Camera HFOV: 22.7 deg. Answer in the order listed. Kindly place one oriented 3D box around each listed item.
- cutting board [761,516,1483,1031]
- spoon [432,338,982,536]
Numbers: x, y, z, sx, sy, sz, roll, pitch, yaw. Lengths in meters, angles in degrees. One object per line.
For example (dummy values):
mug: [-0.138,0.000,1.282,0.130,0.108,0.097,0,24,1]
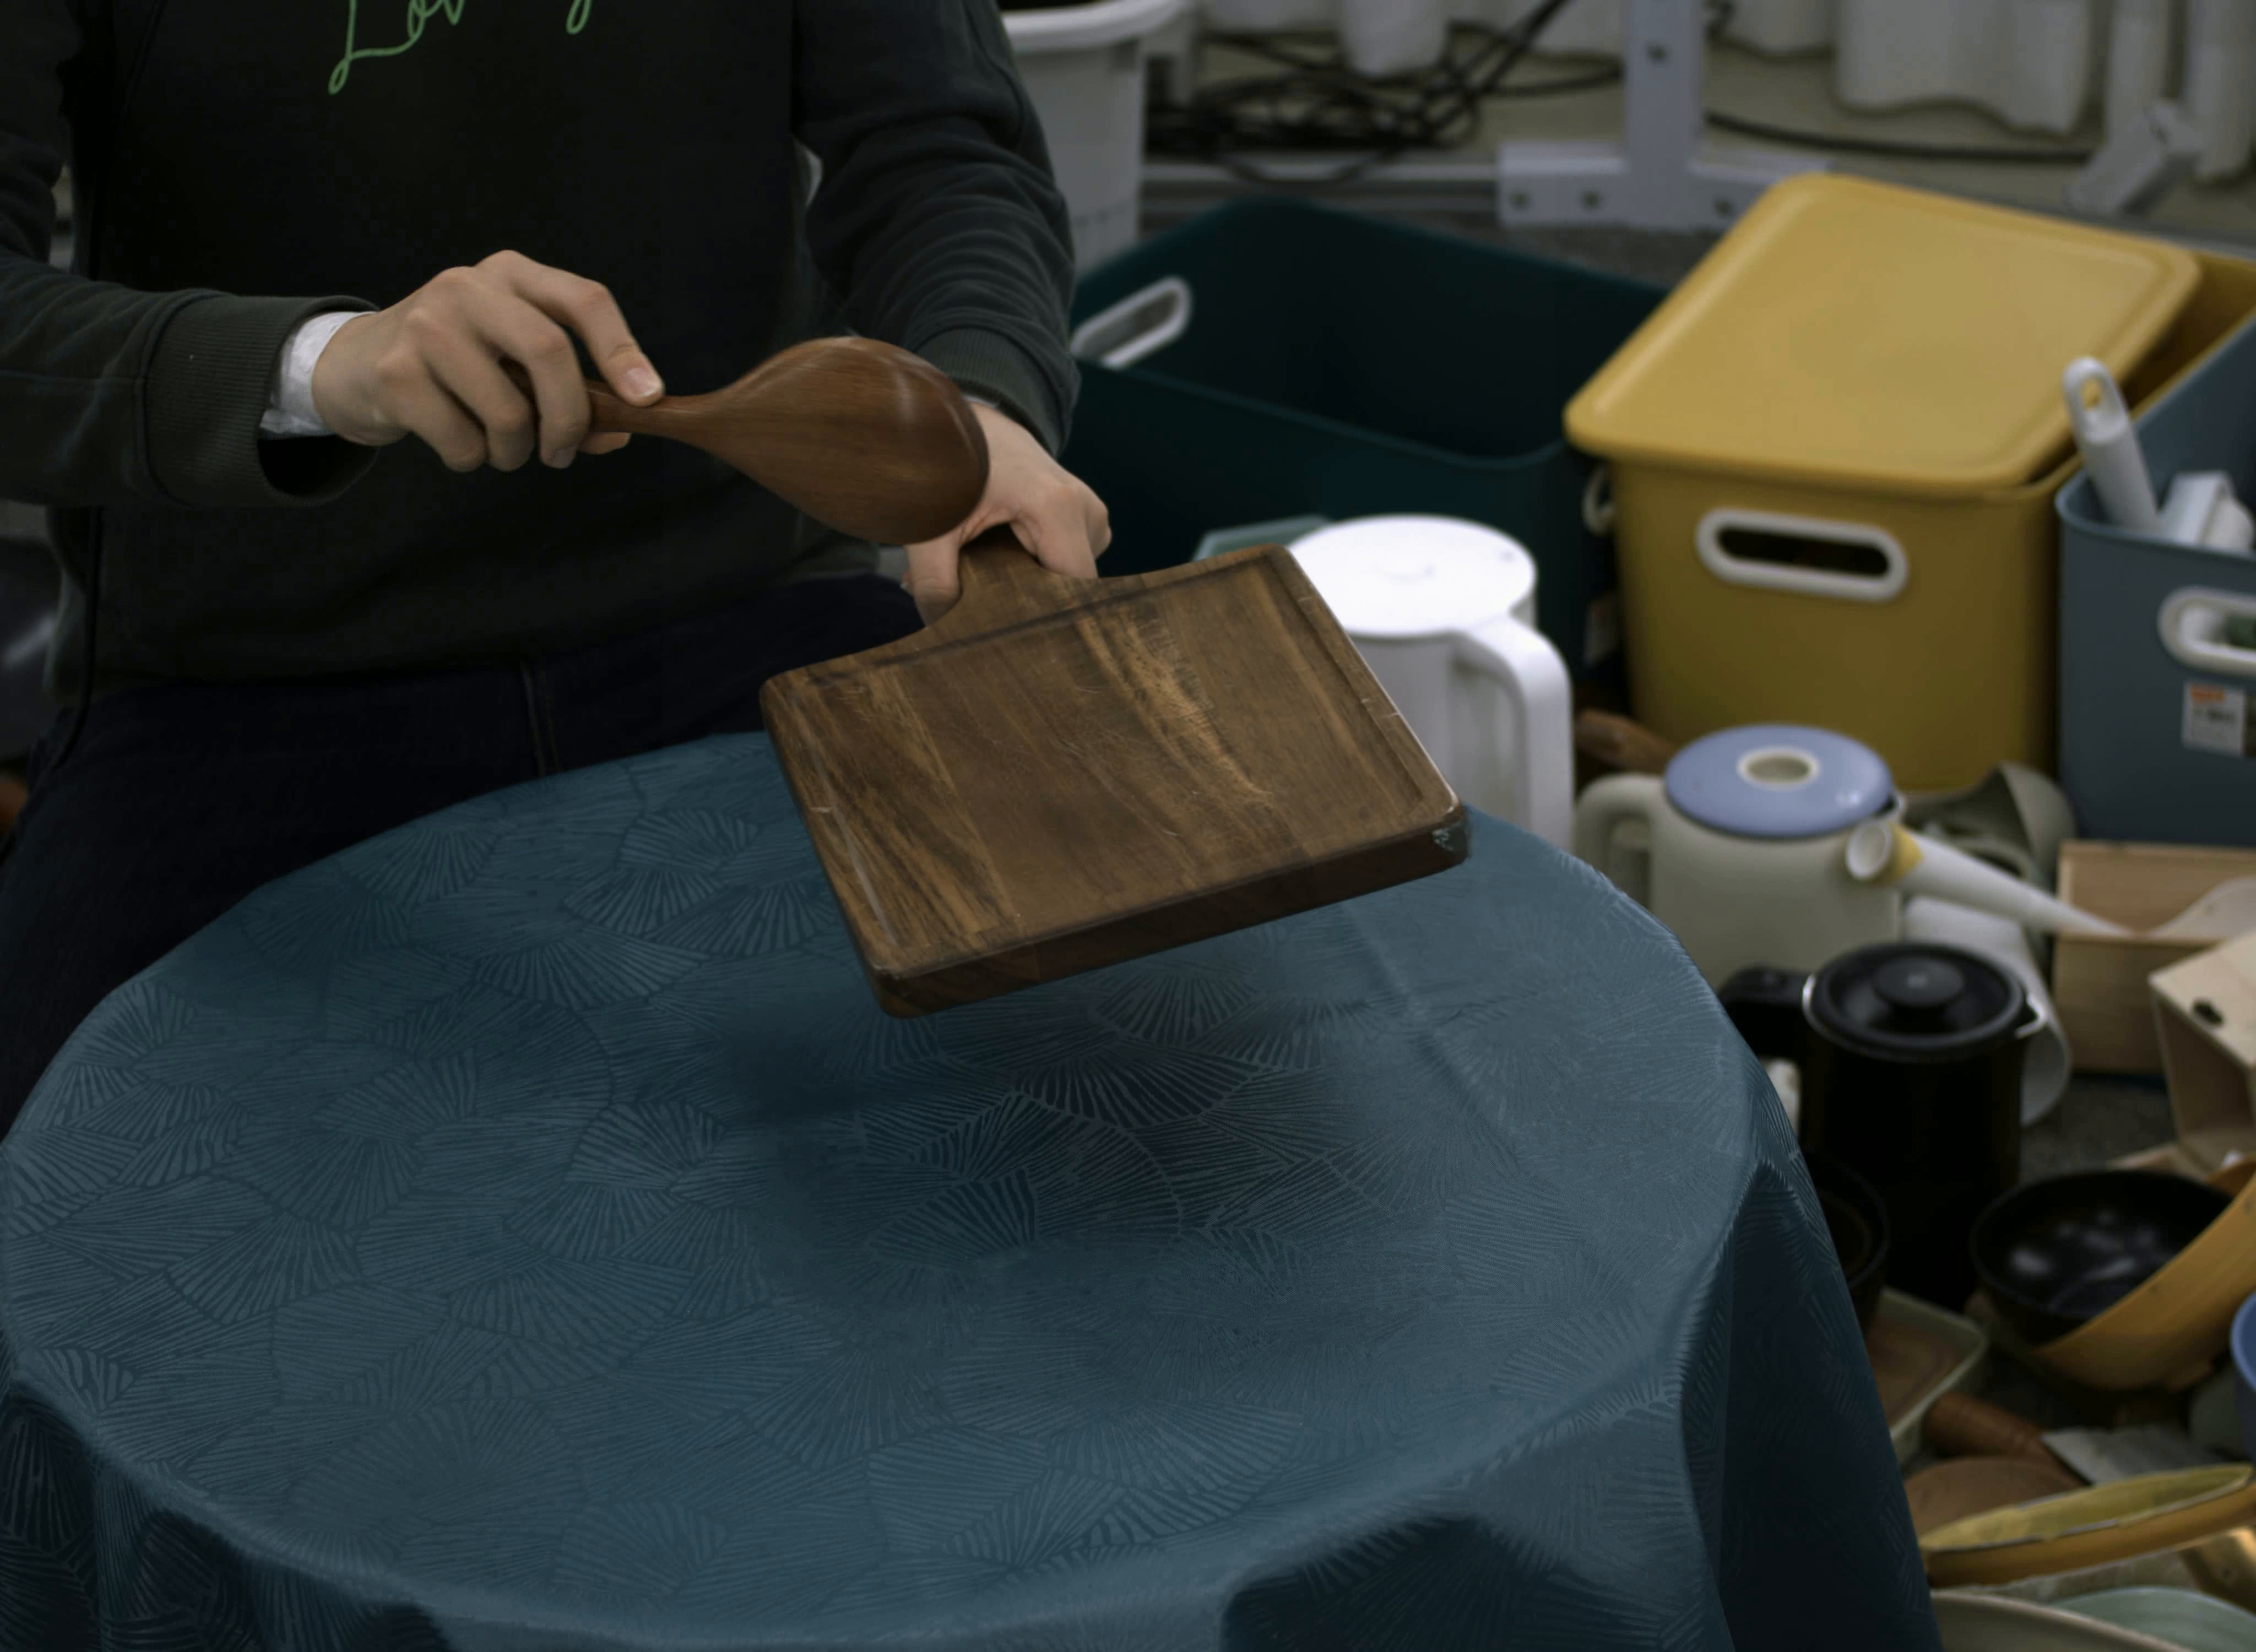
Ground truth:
cutting board: [-0.018,-0.037,1.917,0.201,0.023,0.355,-16,25,-6]
spoon: [-0.142,-0.132,1.859,0.214,0.074,0.017,9,38,30]
